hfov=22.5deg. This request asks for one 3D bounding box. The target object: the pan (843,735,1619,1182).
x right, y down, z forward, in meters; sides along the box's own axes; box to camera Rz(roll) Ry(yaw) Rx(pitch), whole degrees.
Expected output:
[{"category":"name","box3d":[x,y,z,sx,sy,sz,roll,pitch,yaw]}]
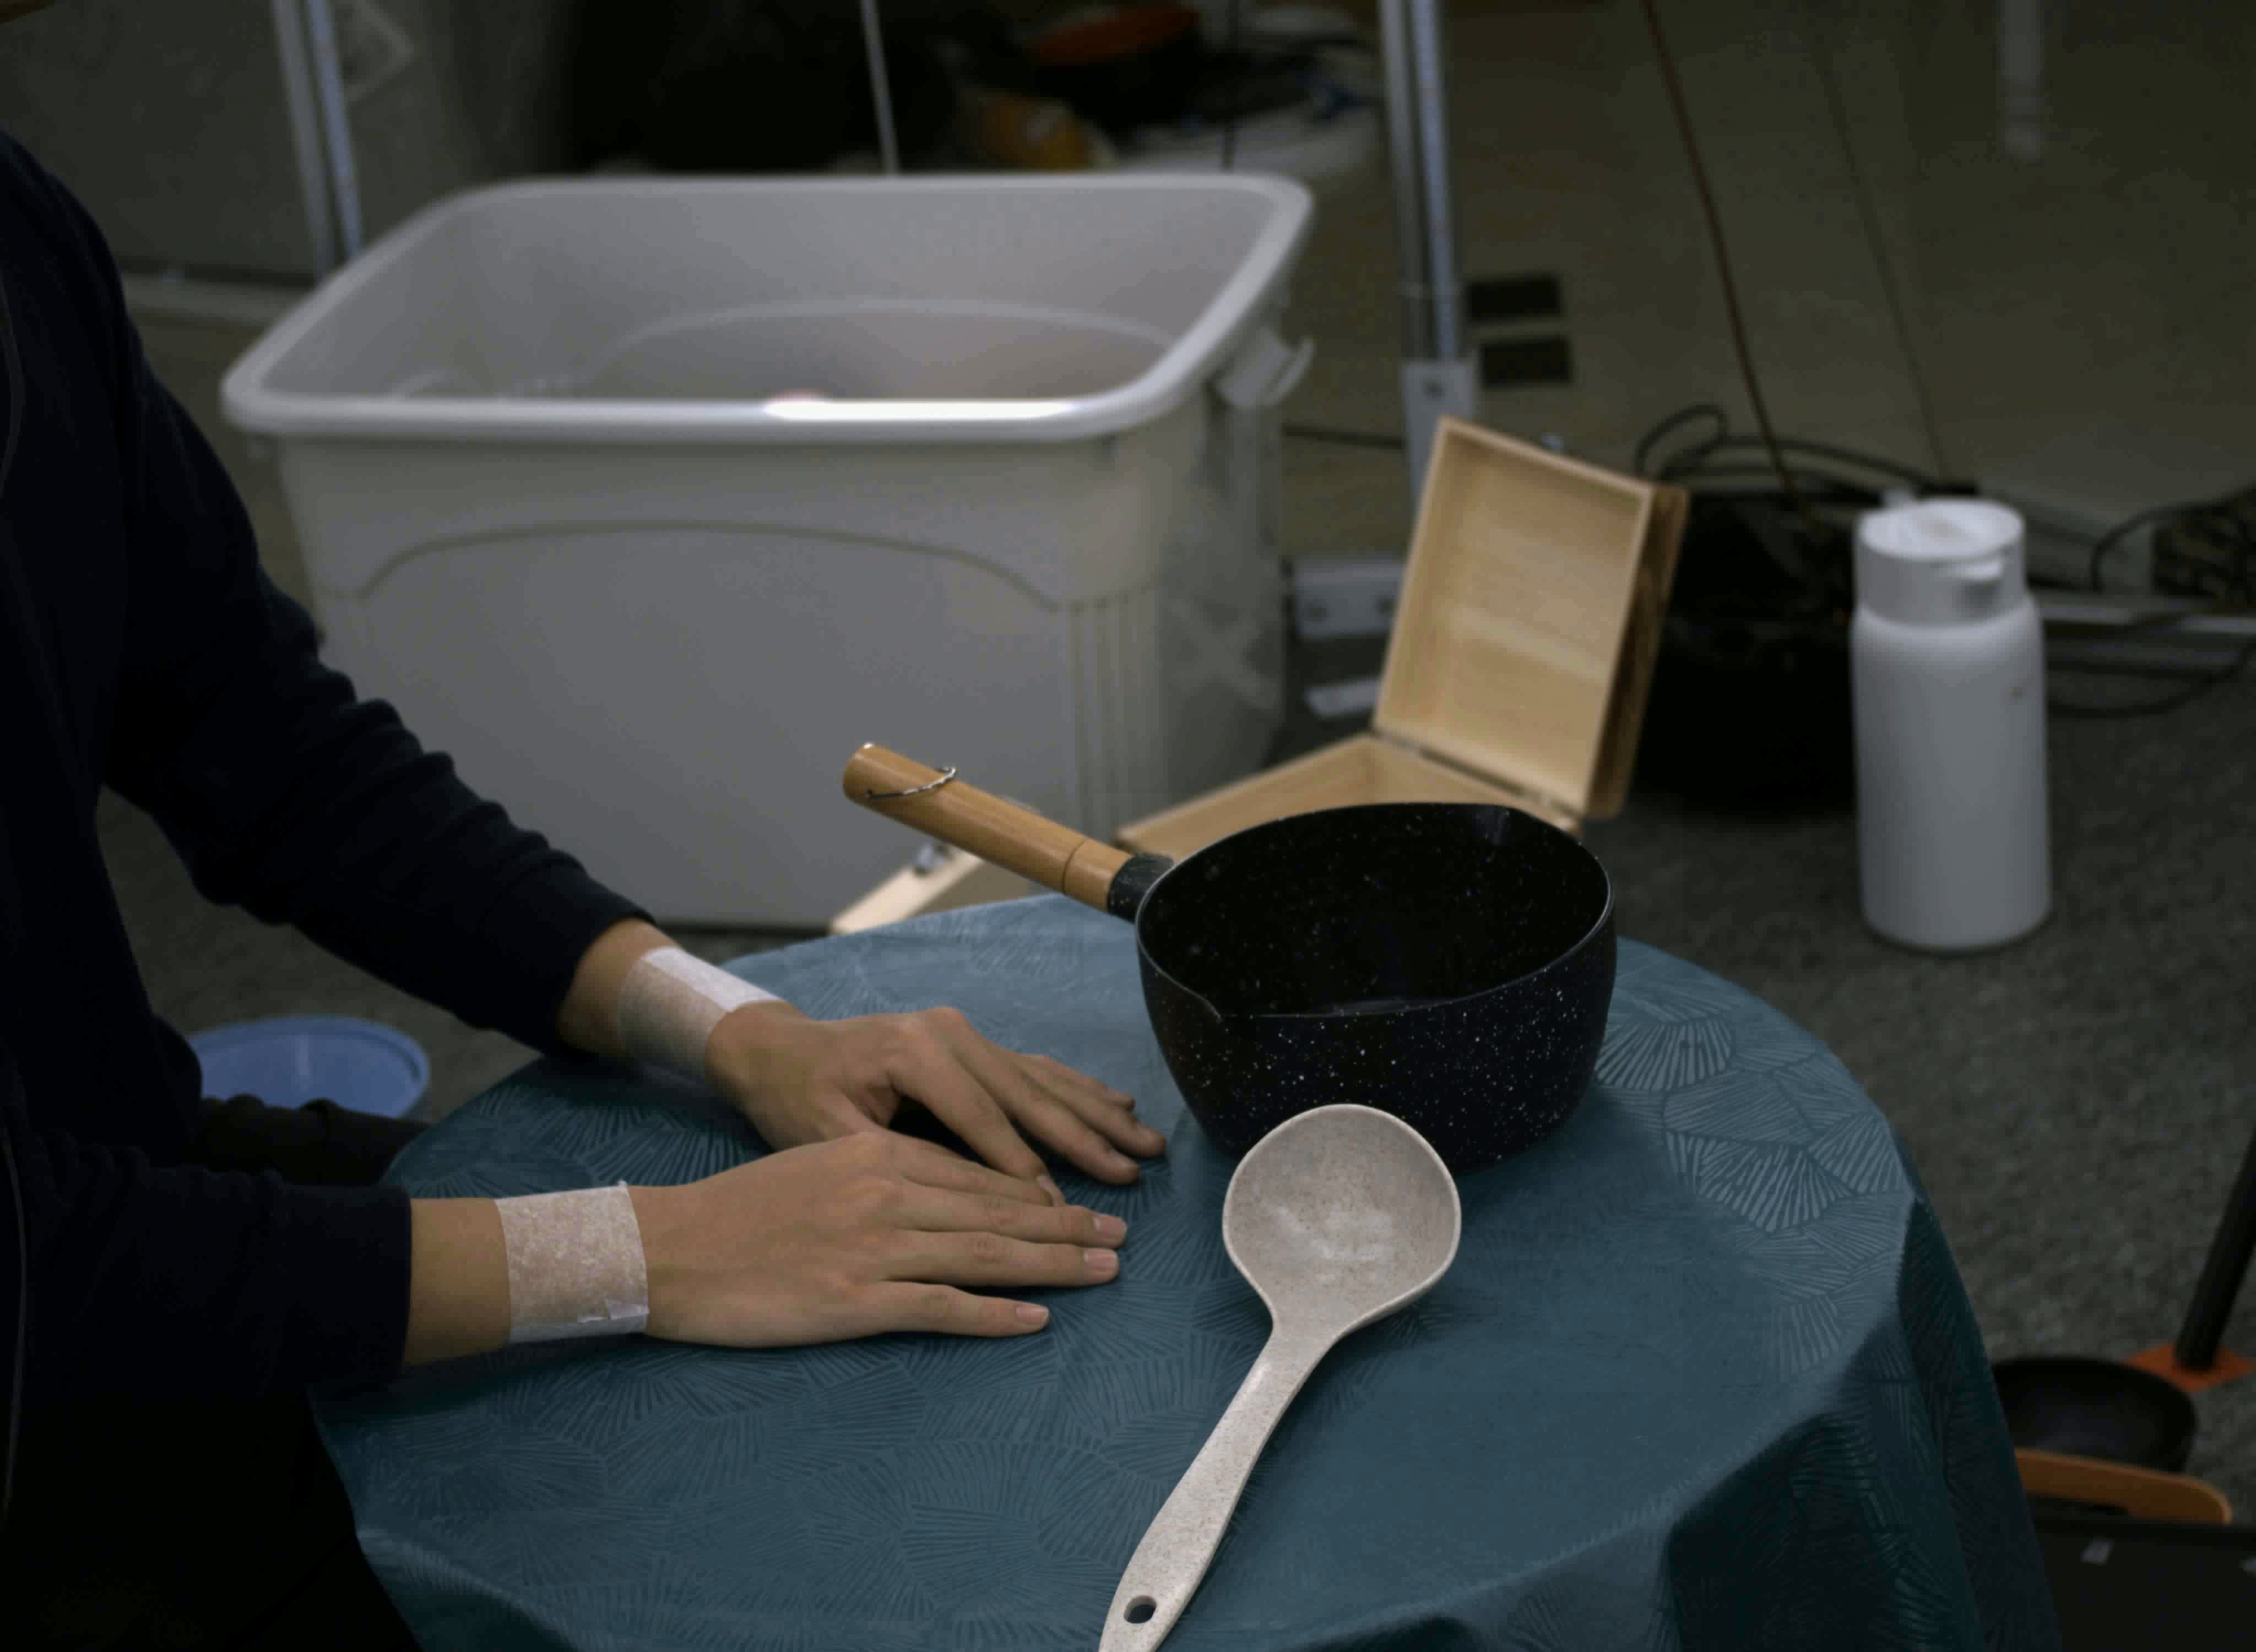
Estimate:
[{"category":"pan","box3d":[0.031,0.044,2.212,0.341,0.110,0.205,12,32,32]}]

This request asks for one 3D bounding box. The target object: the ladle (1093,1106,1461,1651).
[{"category":"ladle","box3d":[0.040,0.189,1.951,0.089,0.070,0.271,10,29,17]}]
